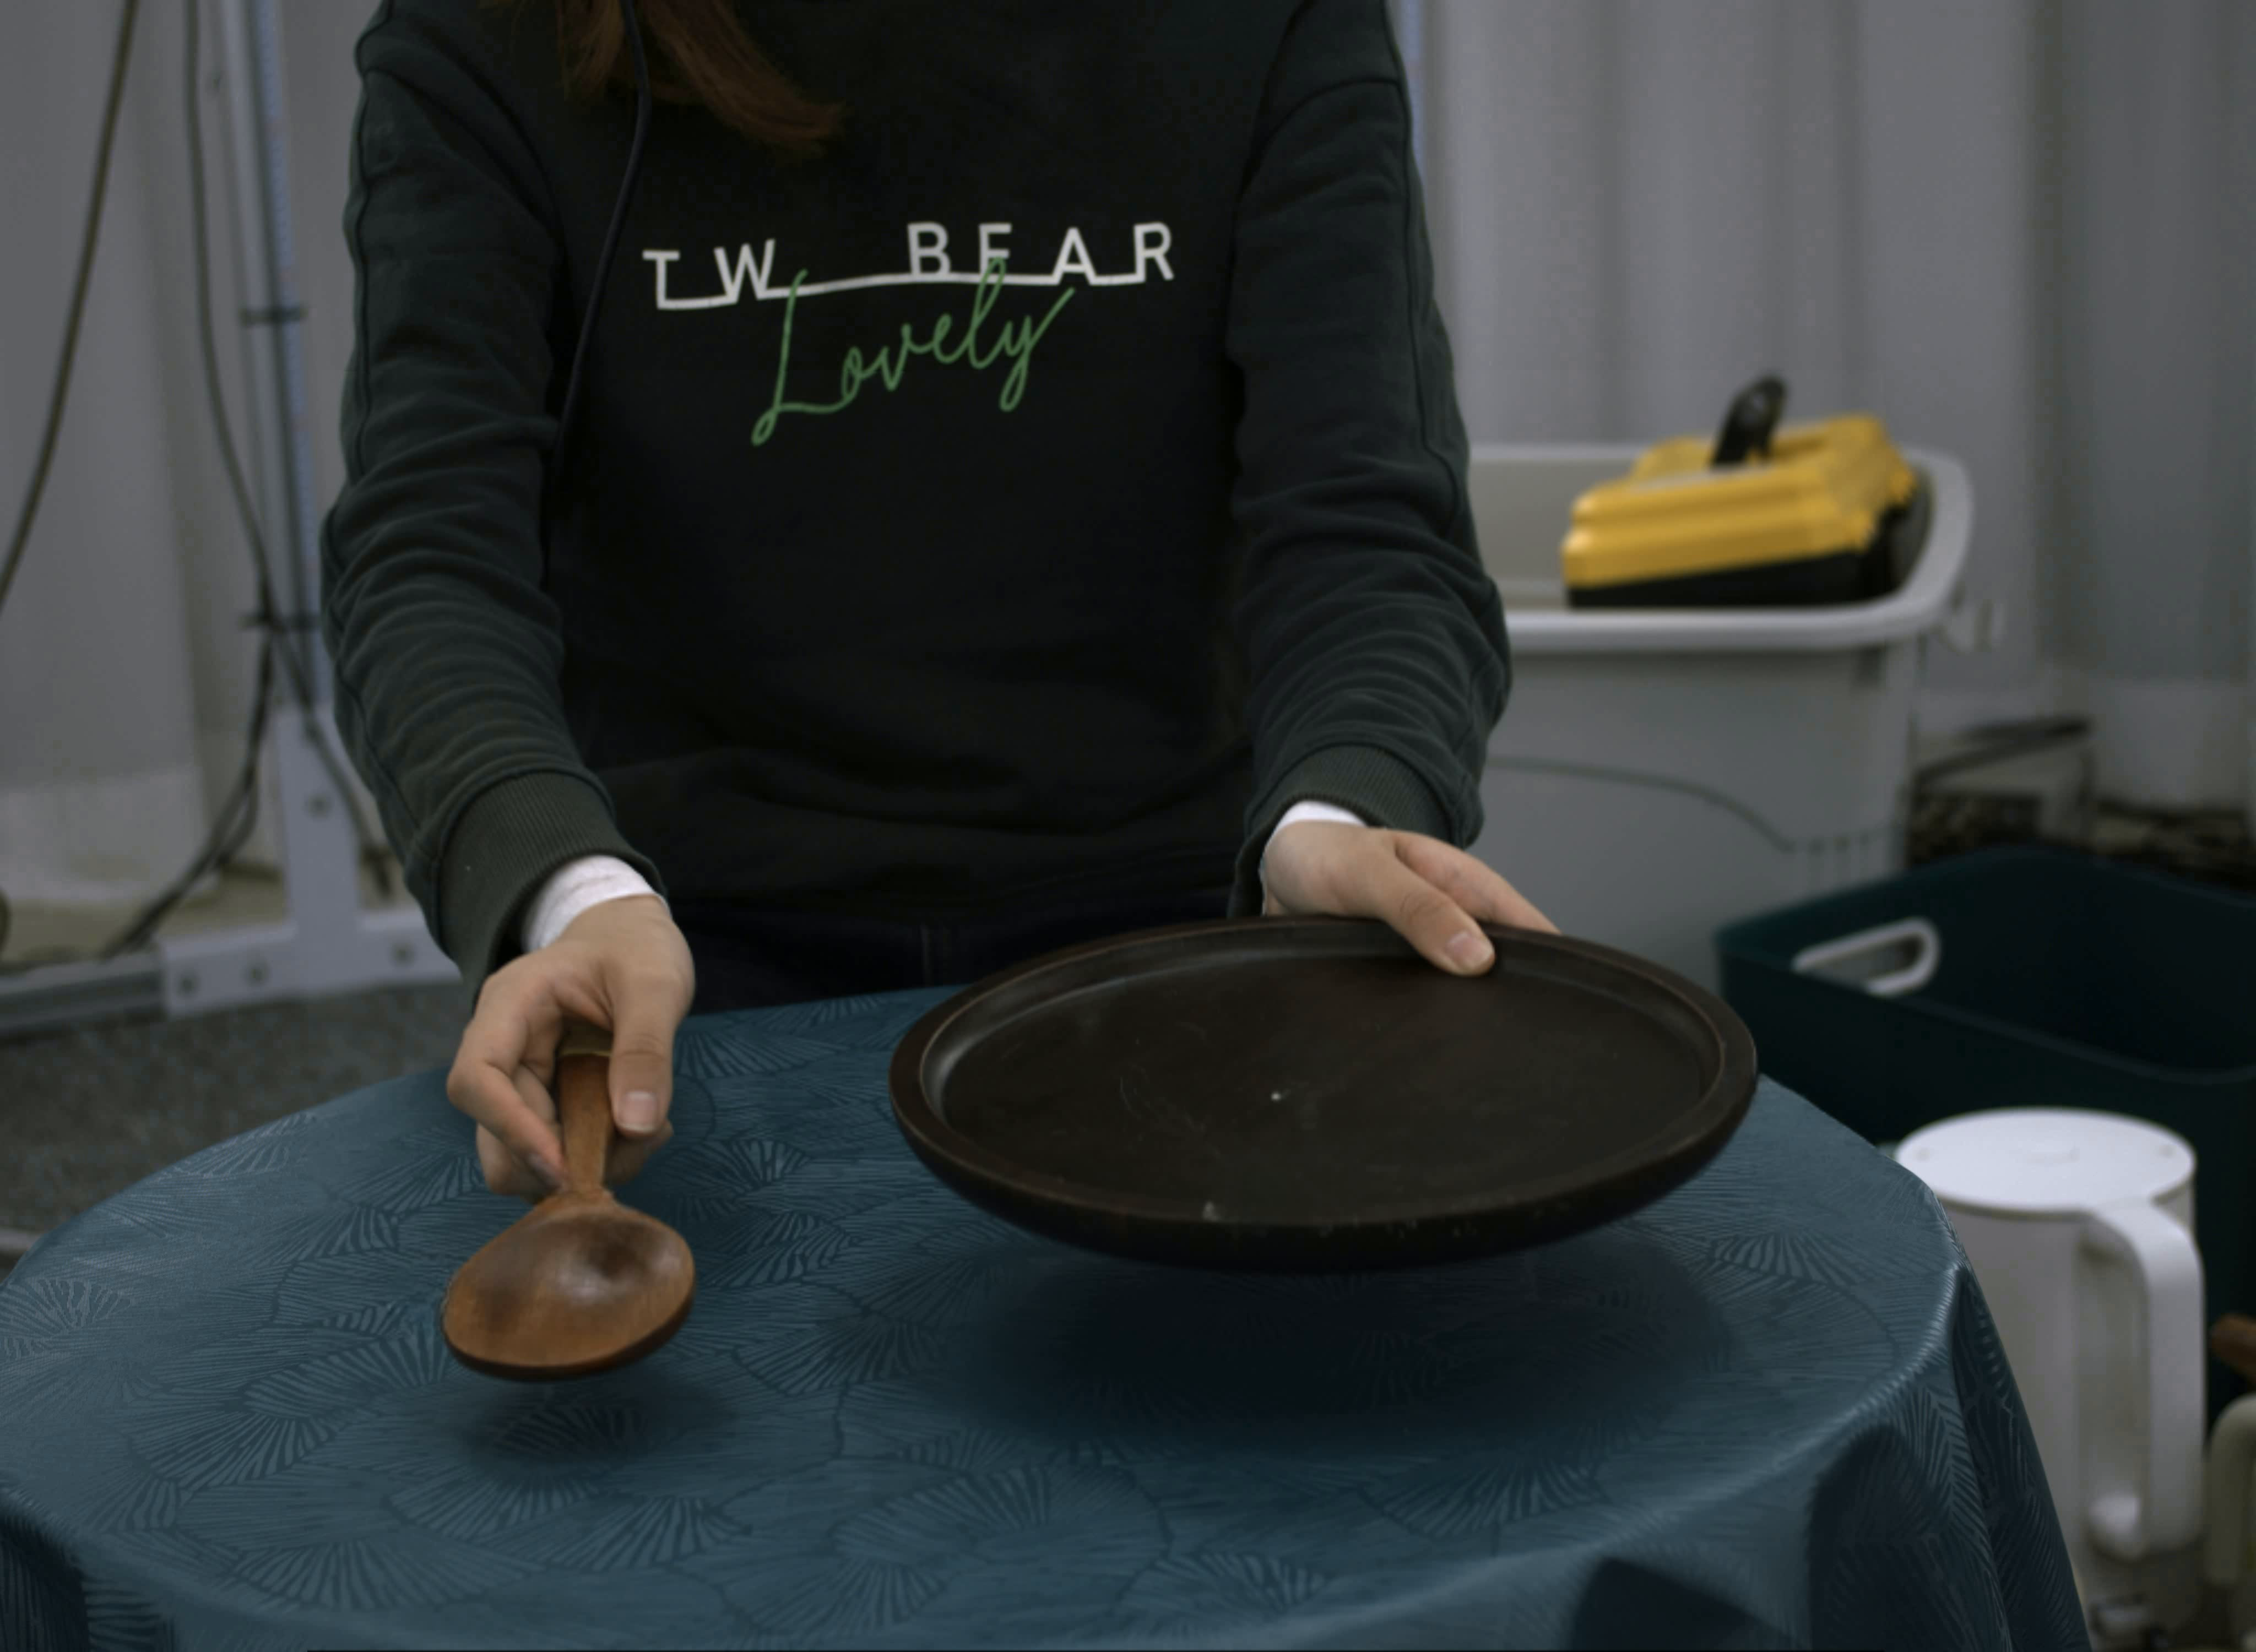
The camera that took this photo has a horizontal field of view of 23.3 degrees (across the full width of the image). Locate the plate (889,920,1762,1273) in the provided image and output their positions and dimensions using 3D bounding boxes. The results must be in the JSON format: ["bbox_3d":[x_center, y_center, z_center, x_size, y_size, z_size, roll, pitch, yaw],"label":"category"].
[{"bbox_3d":[0.057,0.075,1.589,0.254,0.029,0.257,-1,19,0],"label":"plate"}]

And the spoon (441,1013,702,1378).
[{"bbox_3d":[-0.160,0.108,1.603,0.075,0.017,0.218,-9,24,1],"label":"spoon"}]
